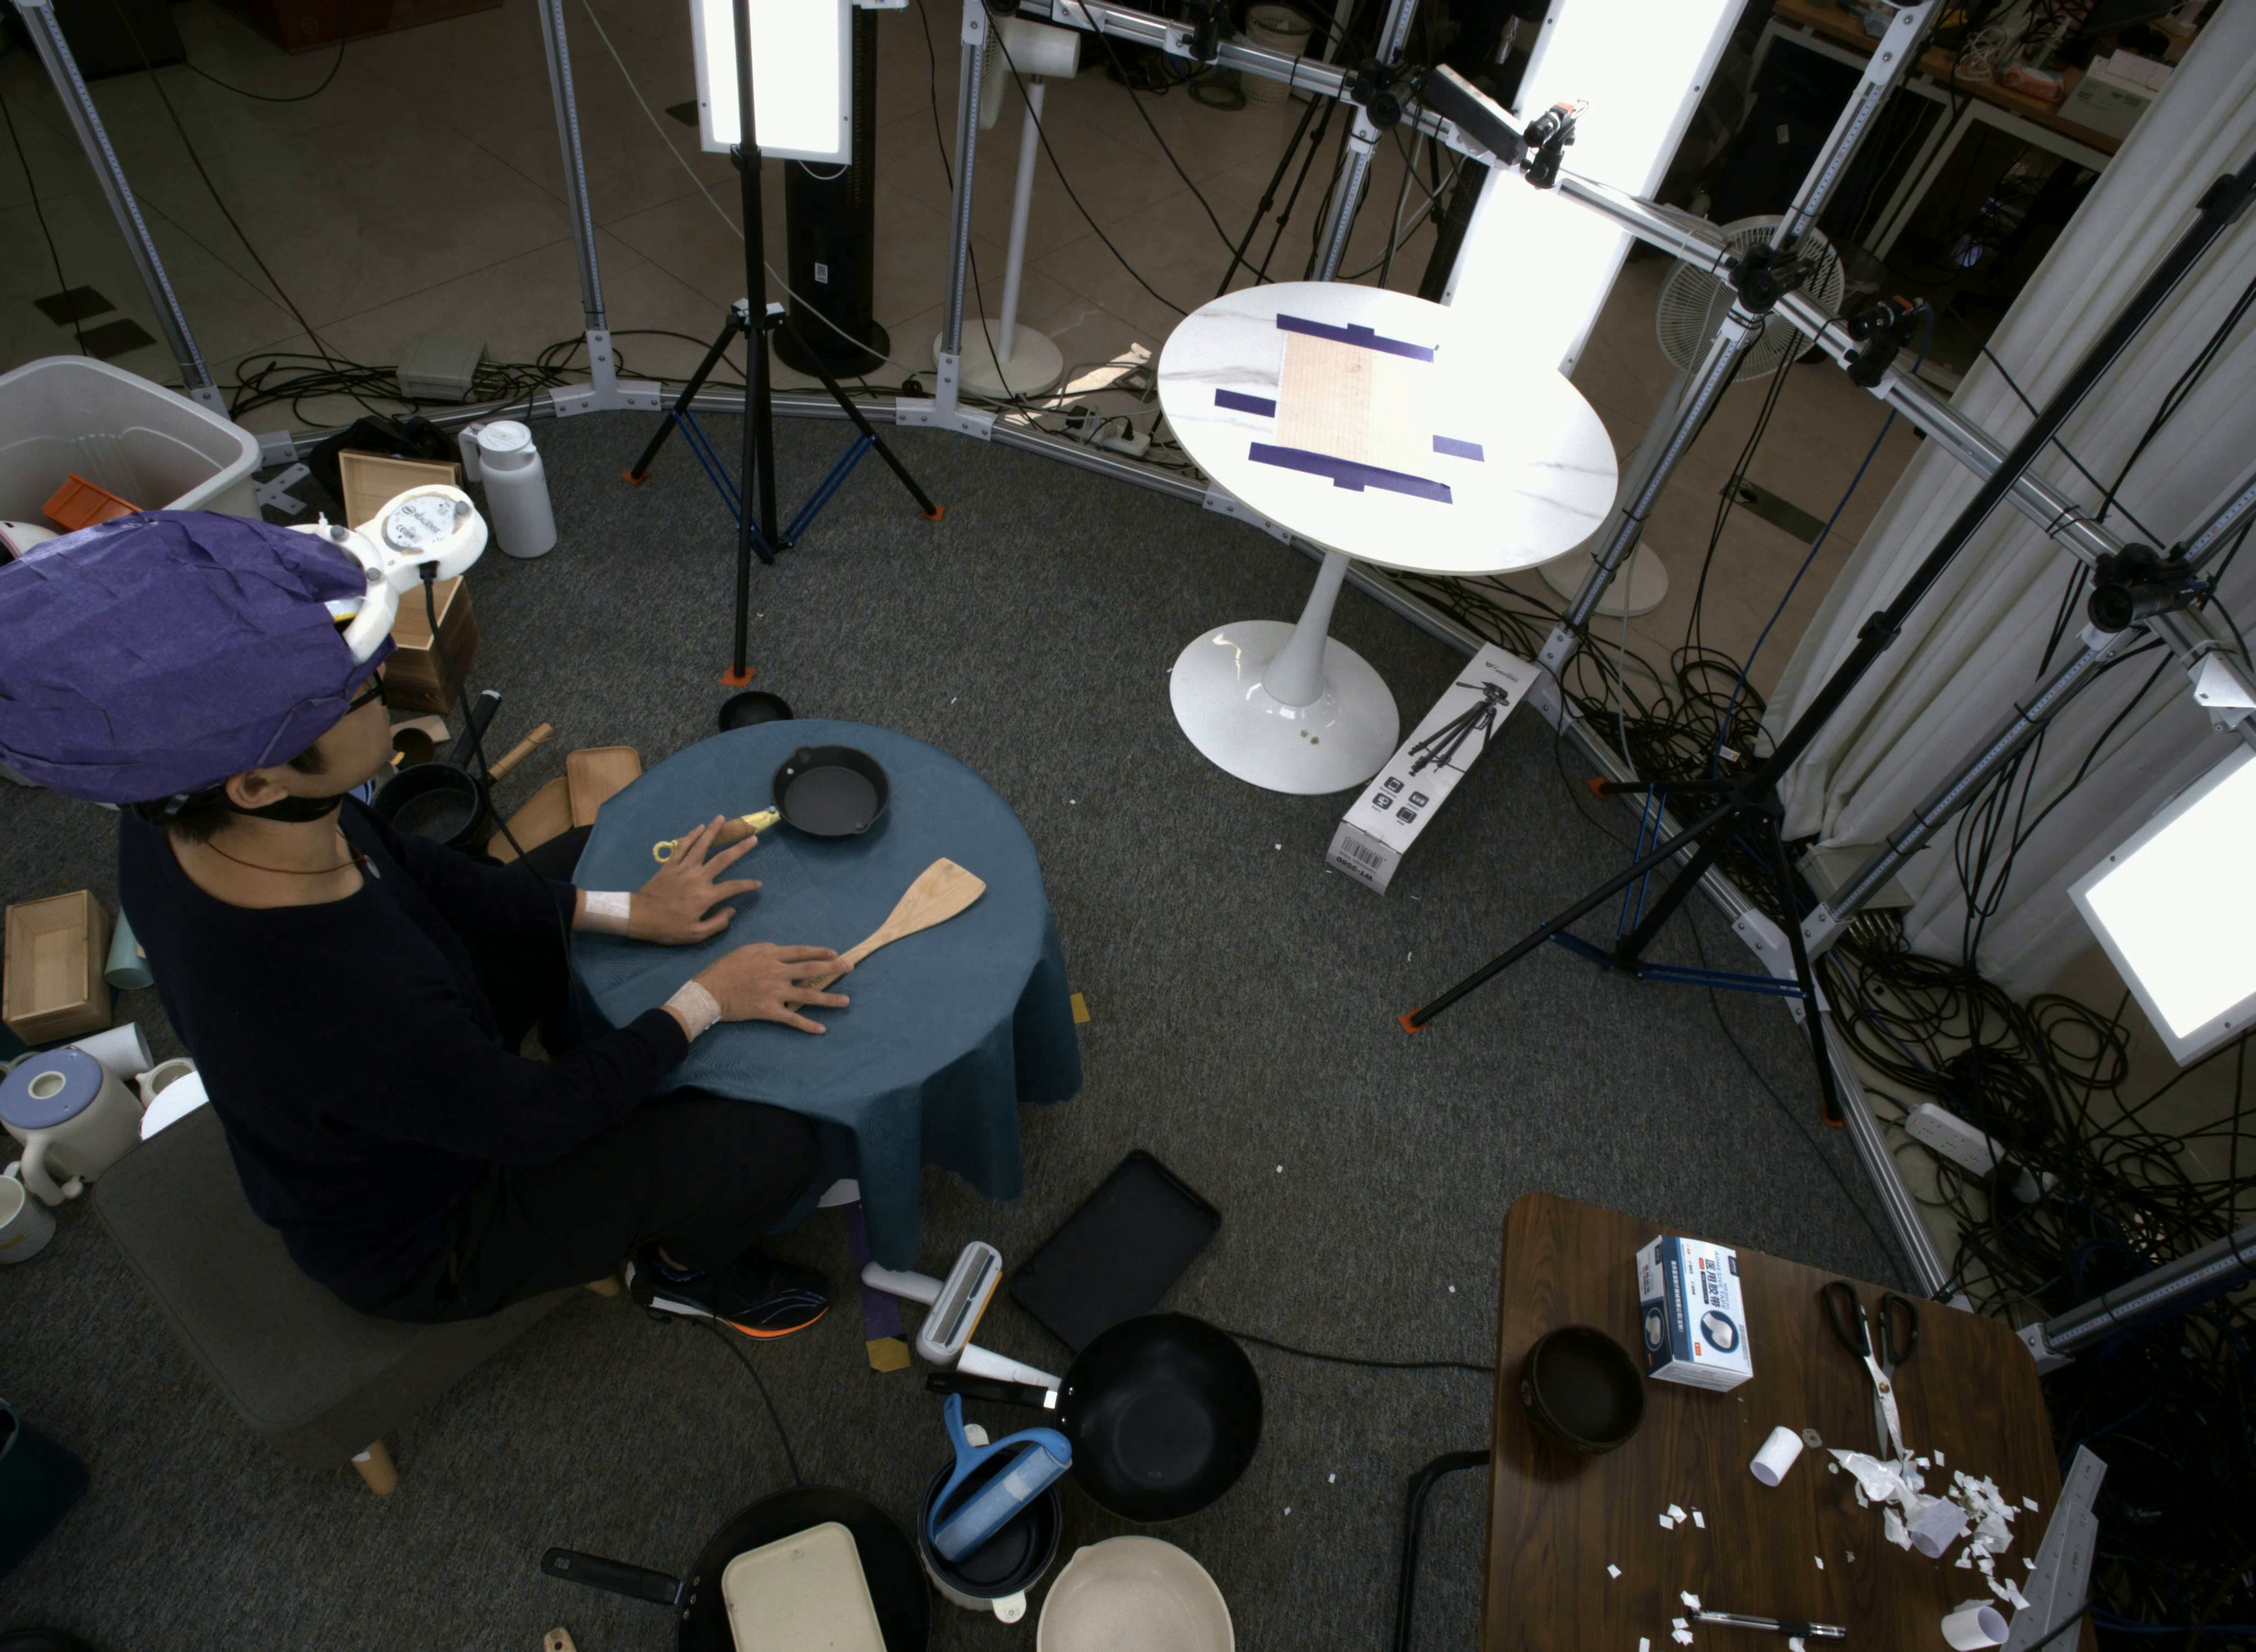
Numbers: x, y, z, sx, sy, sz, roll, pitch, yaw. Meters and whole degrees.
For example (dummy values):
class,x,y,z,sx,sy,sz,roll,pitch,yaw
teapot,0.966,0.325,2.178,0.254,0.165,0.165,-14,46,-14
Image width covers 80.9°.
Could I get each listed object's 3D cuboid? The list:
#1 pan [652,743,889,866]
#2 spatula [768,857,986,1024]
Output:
class,x,y,z,sx,sy,sz,roll,pitch,yaw
pan,-0.464,-0.015,1.682,0.326,0.050,0.165,-25,63,-31
spatula,-0.318,0.141,1.626,0.078,0.017,0.328,40,54,17
